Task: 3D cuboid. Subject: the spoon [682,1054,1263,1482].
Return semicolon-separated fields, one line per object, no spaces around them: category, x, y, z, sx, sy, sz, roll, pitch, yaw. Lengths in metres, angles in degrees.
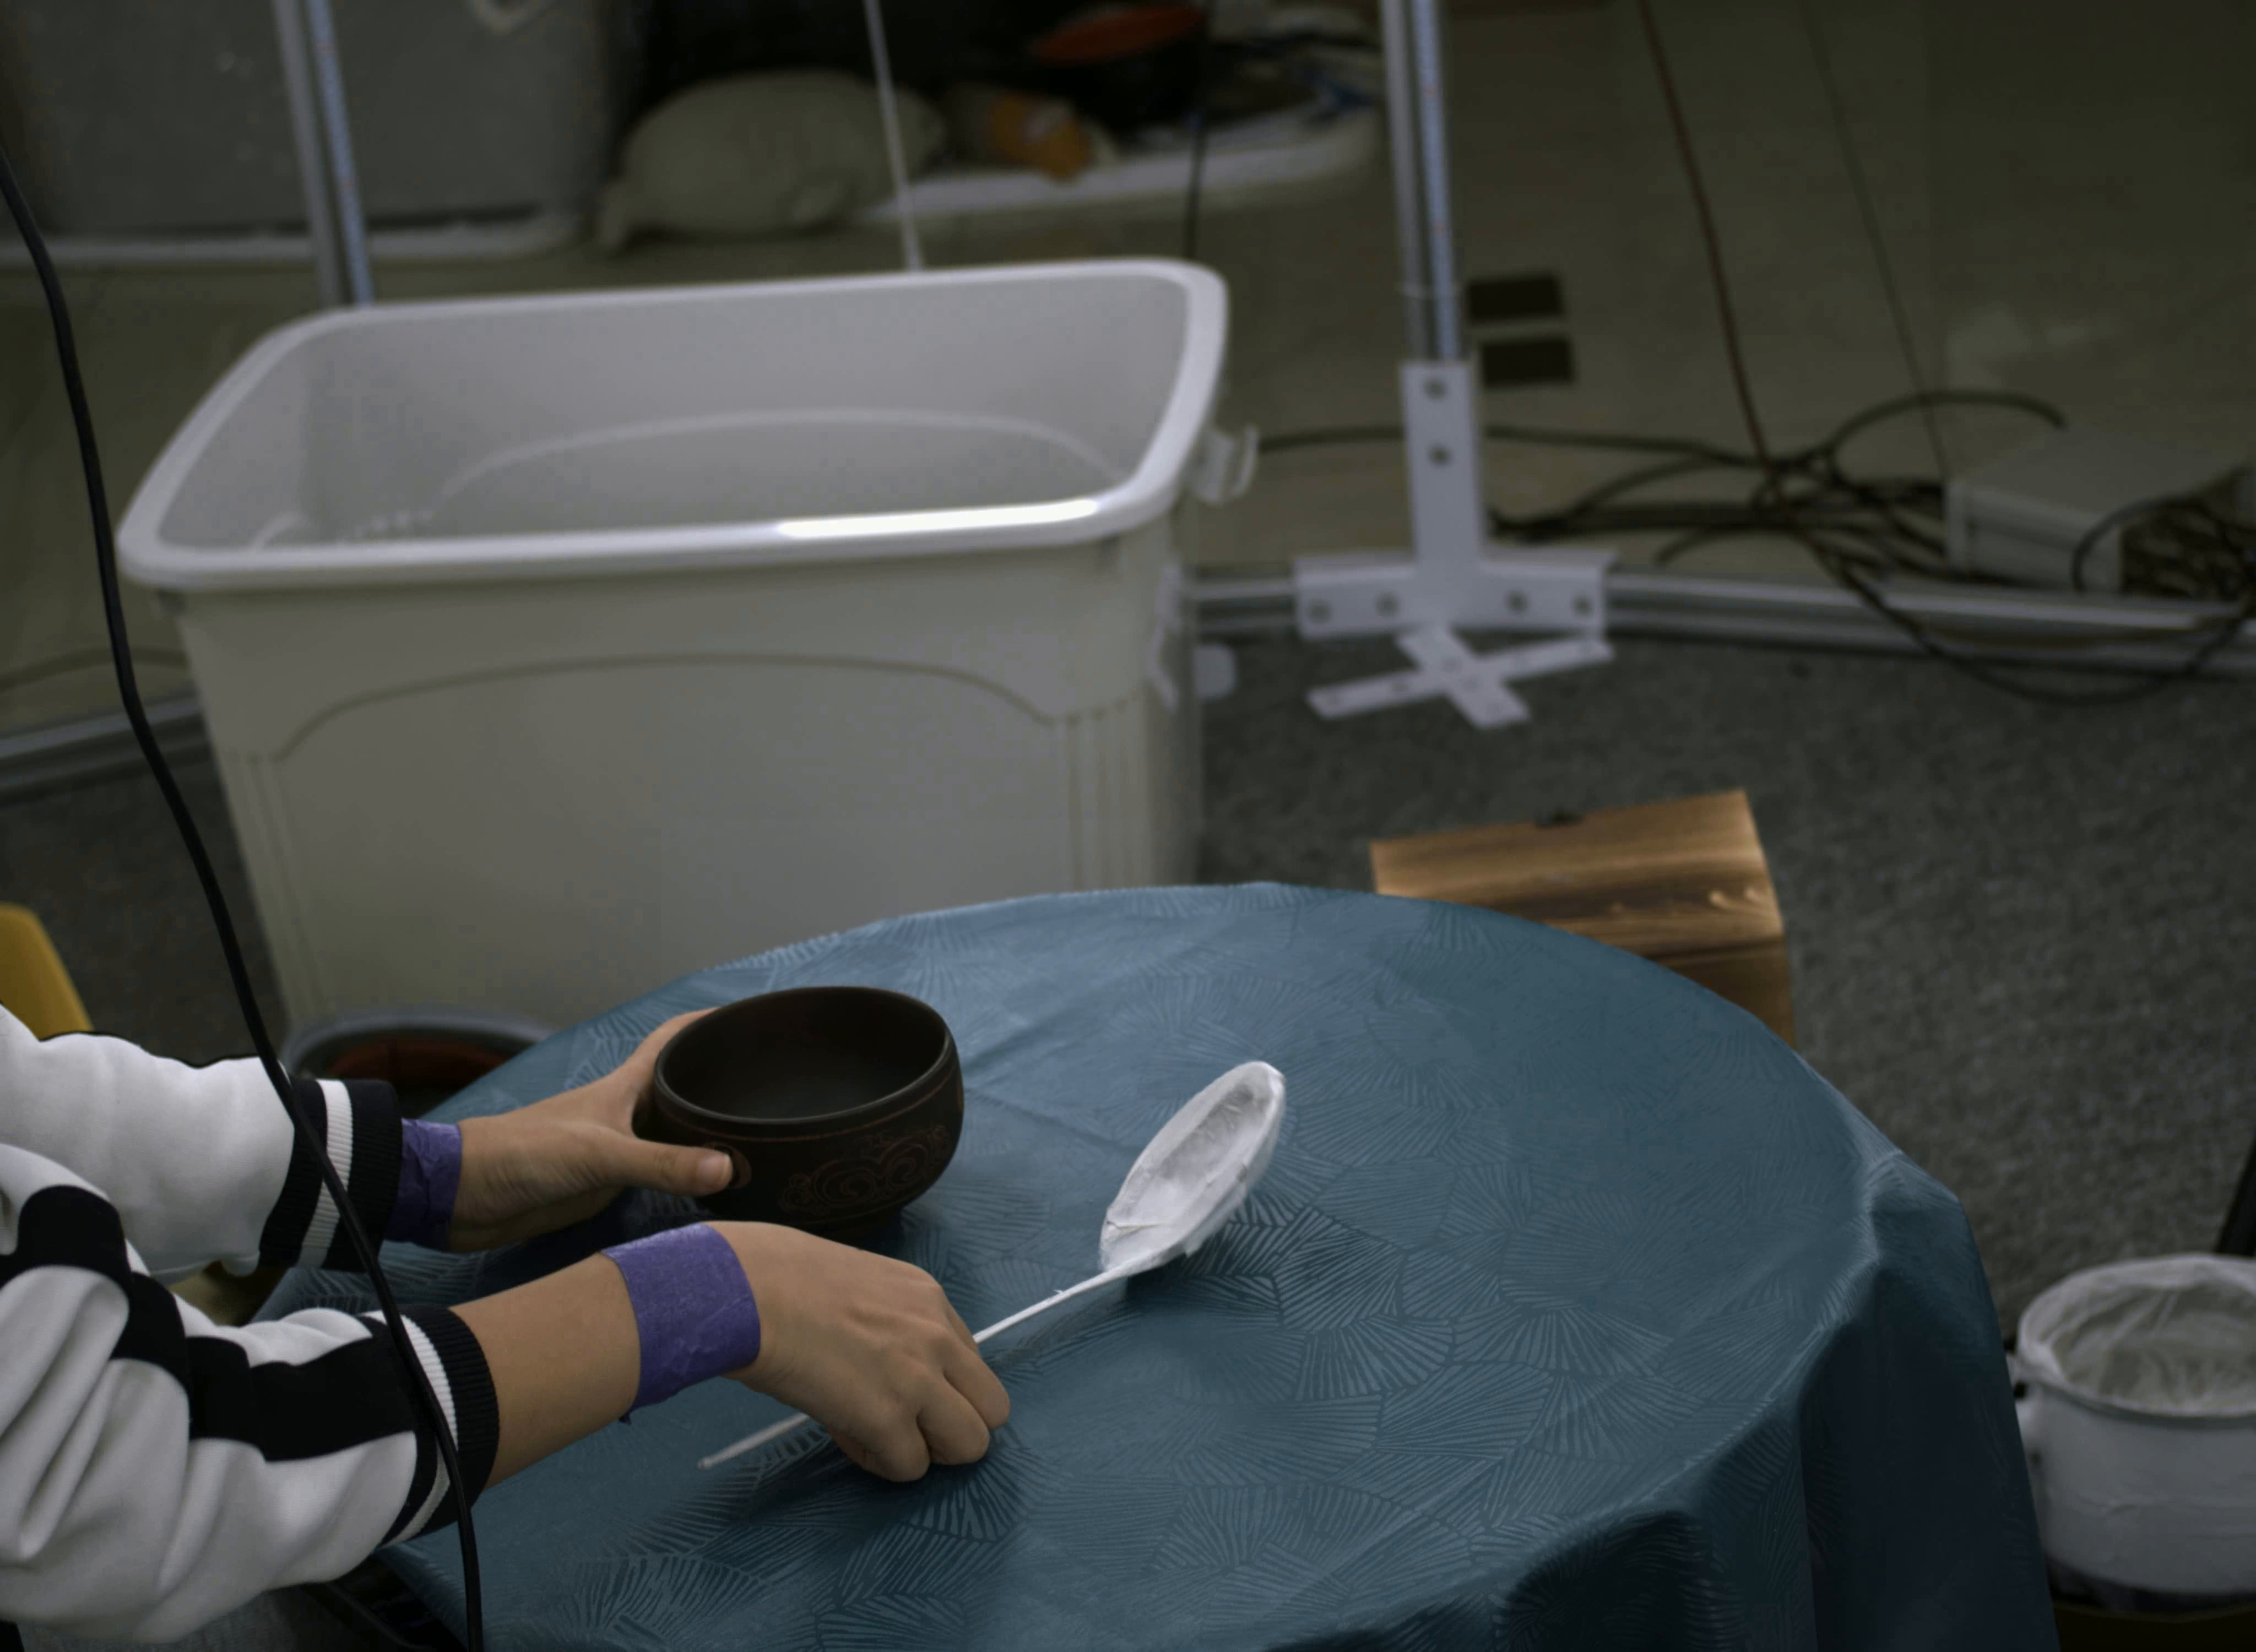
spoon;-0.058;0.159;2.048;0.275;0.059;0.101;-23;-6;-31

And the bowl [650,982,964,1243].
bowl;-0.119;0.114;2.143;0.118;0.071;0.116;-5;25;3
